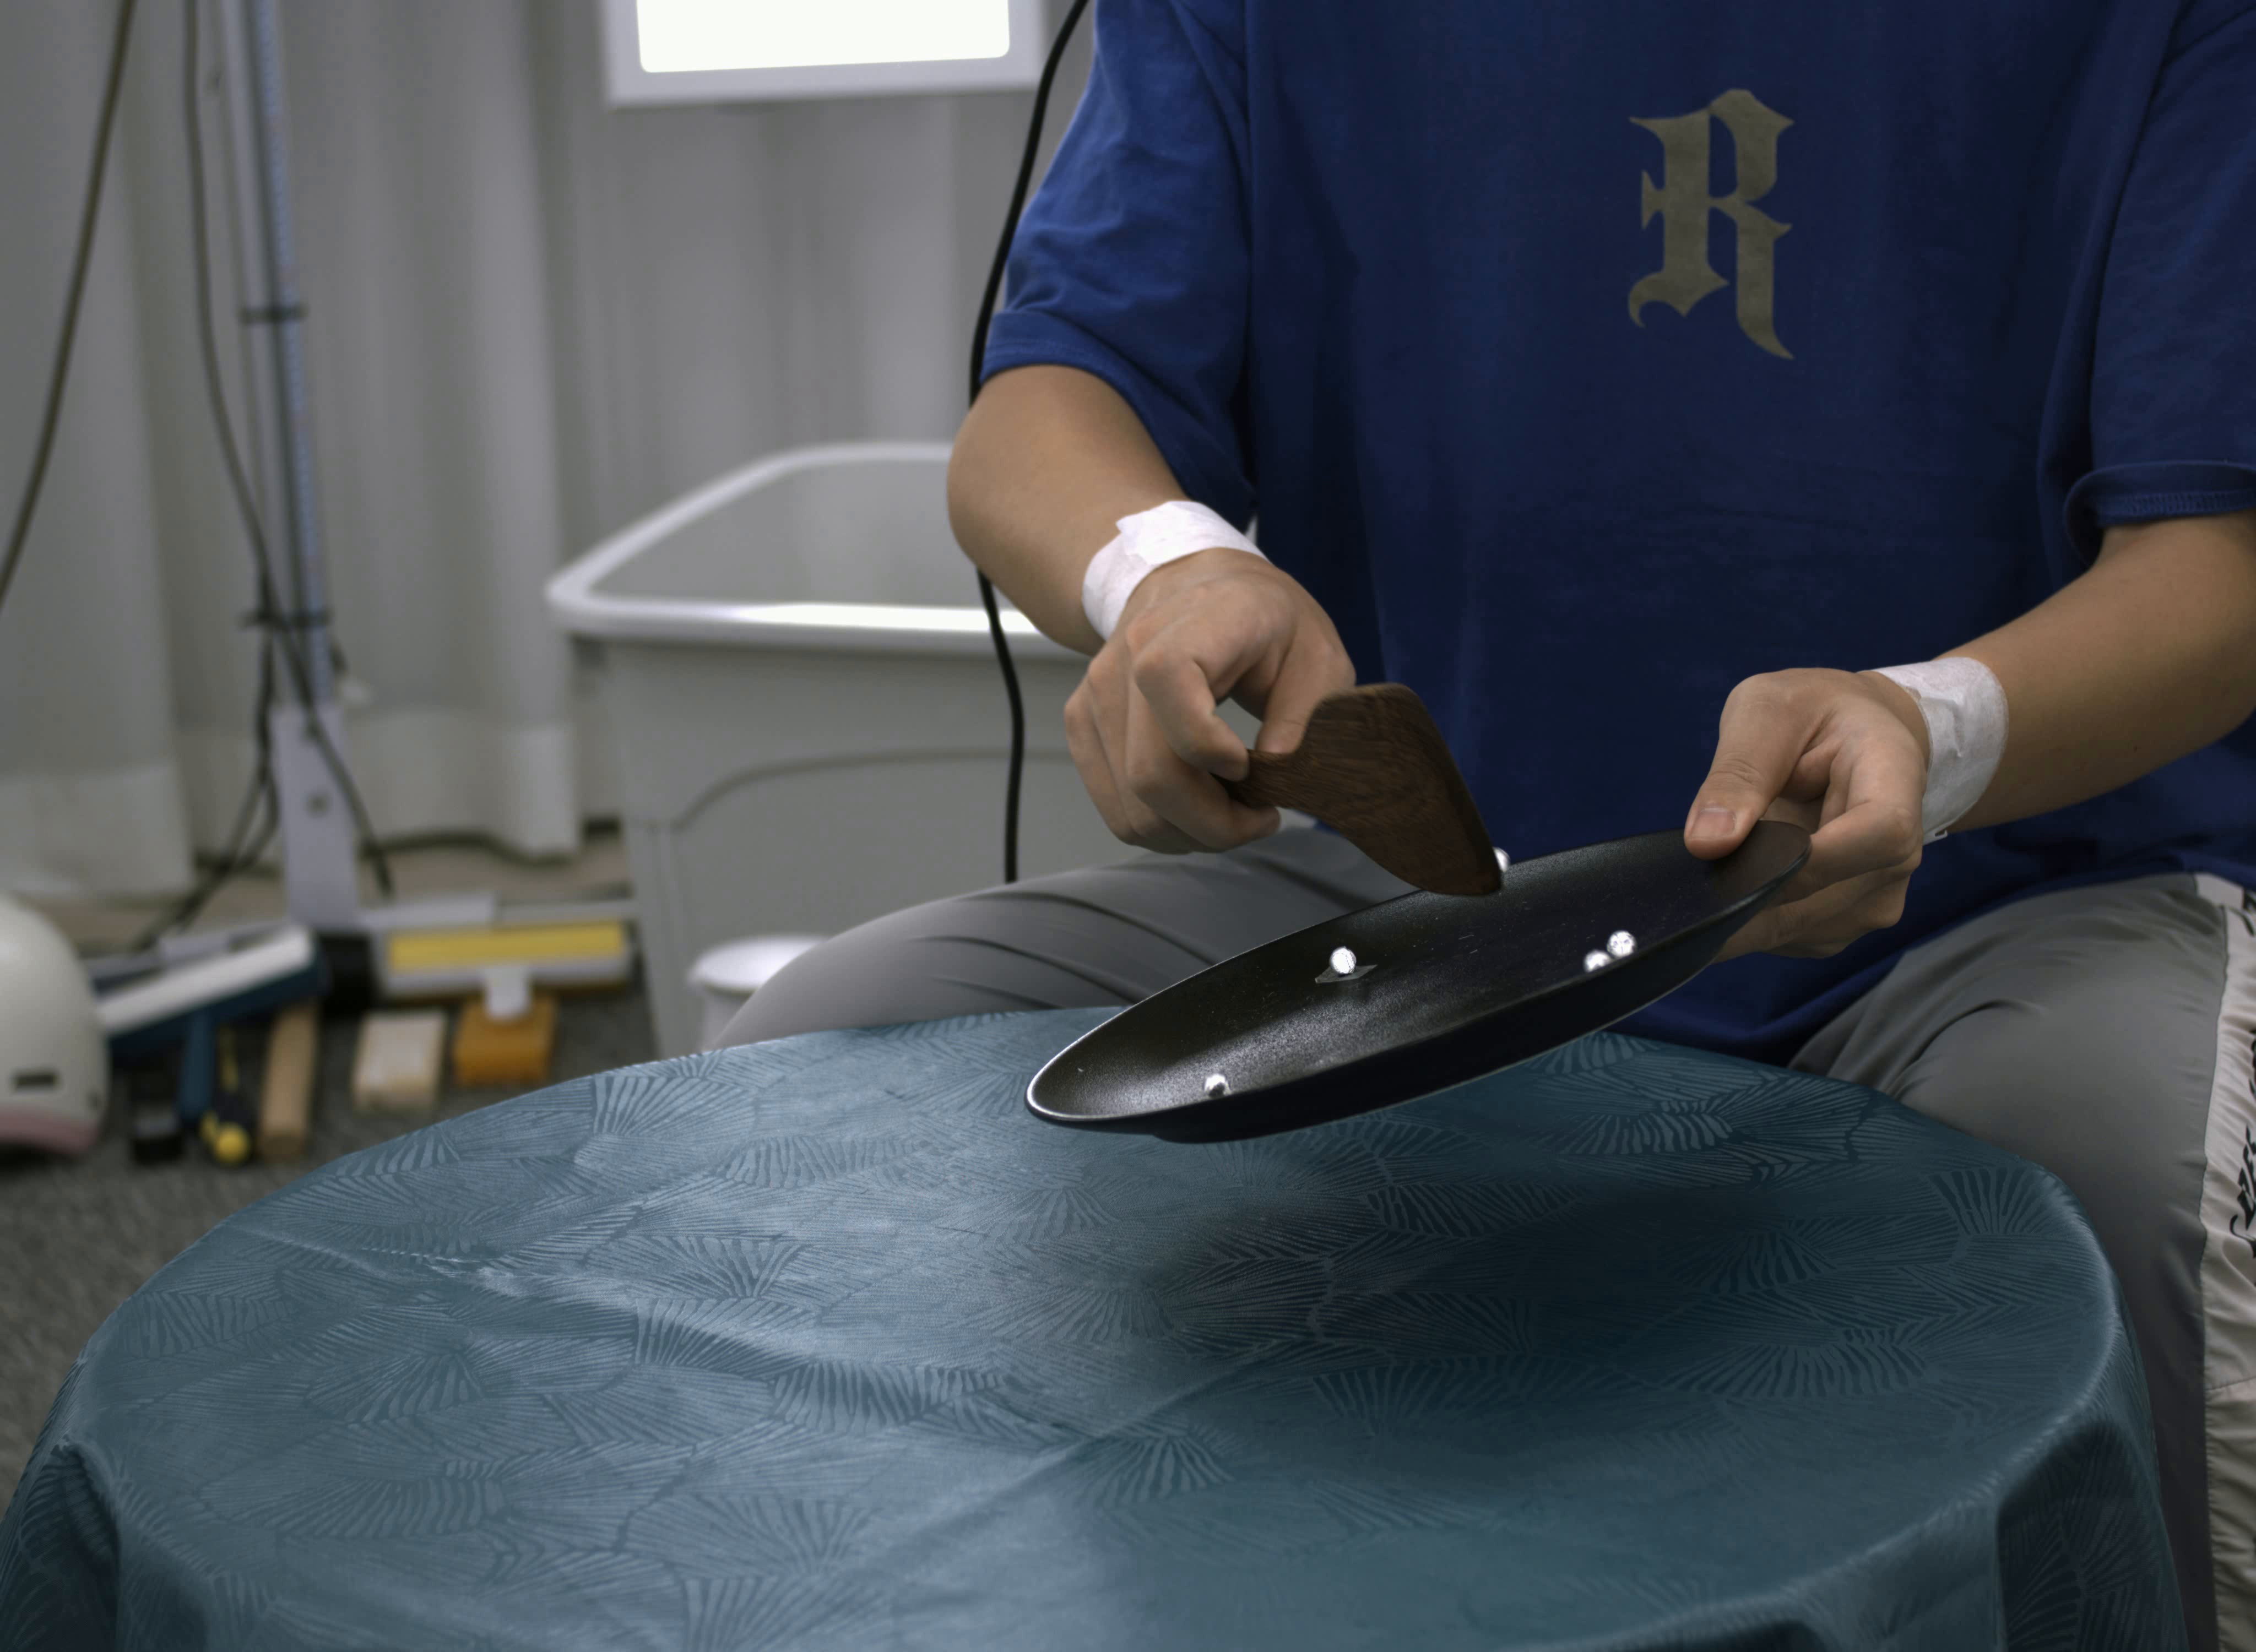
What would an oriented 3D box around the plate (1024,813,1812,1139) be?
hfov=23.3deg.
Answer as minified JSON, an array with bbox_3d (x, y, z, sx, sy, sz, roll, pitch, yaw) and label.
[{"bbox_3d":[0.087,0.048,1.605,0.244,0.023,0.245,-19,8,2],"label":"plate"}]

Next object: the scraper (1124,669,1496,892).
[{"bbox_3d":[0.049,-0.016,1.716,0.011,0.075,0.212,-32,15,-21],"label":"scraper"}]
